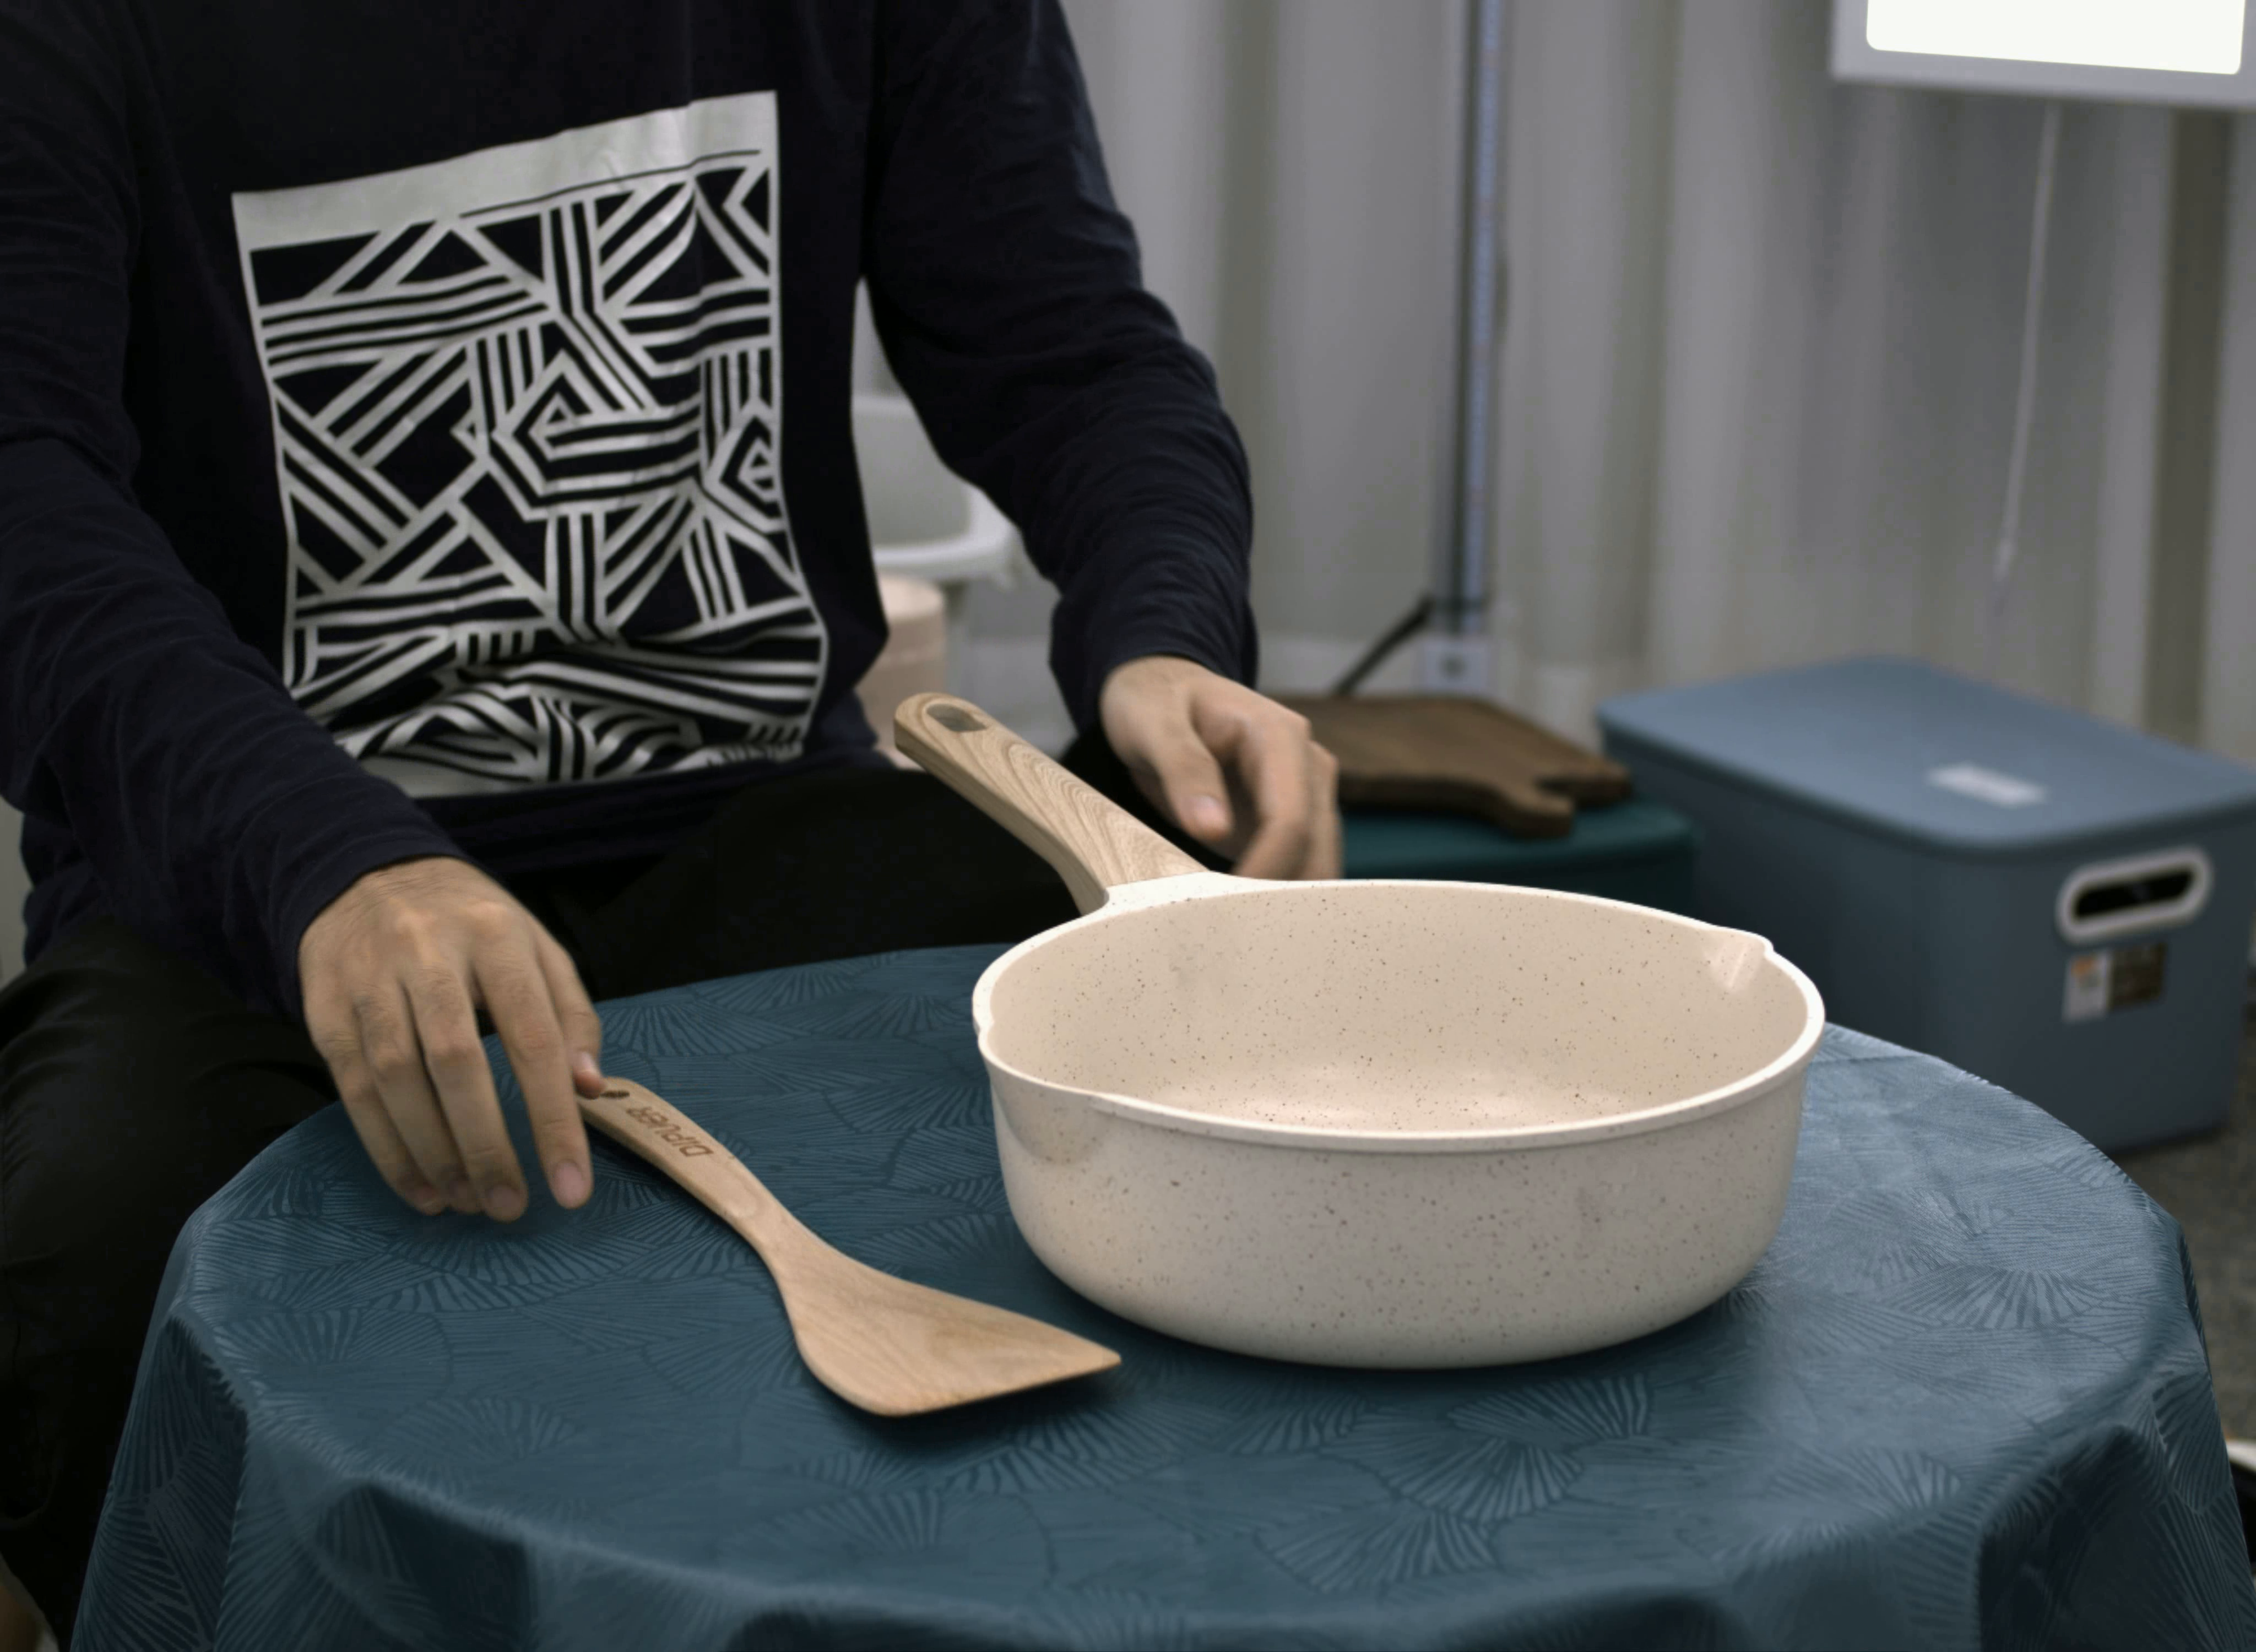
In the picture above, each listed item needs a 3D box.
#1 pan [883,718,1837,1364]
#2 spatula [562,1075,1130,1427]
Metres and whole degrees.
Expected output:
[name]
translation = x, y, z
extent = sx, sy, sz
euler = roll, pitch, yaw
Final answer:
[pan]
translation = 0.037, 0.061, 1.638
extent = 0.264, 0.103, 0.429
euler = -9, 18, -29
[spatula]
translation = -0.100, 0.121, 1.567
extent = 0.080, 0.016, 0.323
euler = -7, 18, -27
